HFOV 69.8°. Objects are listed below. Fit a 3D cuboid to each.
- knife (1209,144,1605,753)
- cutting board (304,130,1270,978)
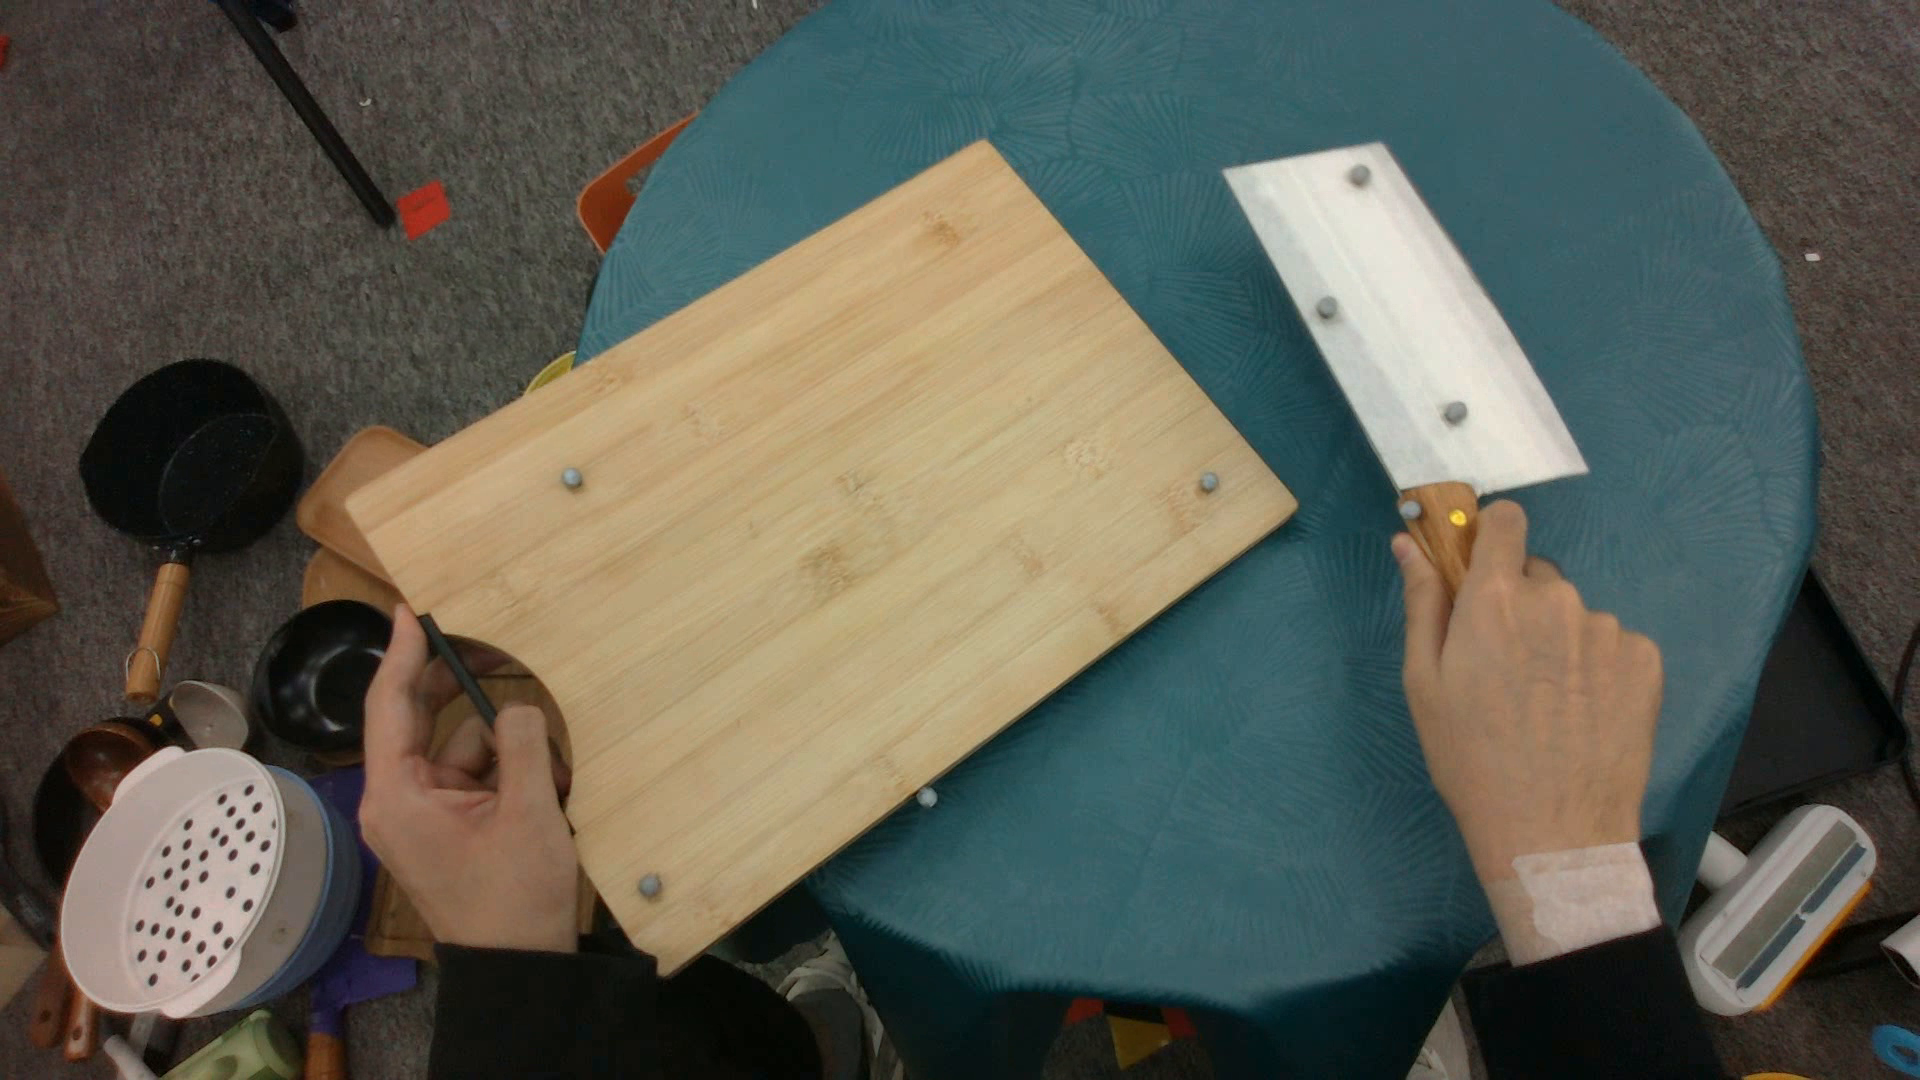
[{"bbox_3d":[0.204,-0.057,0.593,0.093,0.021,0.306,-13,63,-17],"label":"knife"},{"bbox_3d":[-0.064,-0.015,0.606,0.350,0.023,0.251,-35,76,-19],"label":"cutting board"}]
